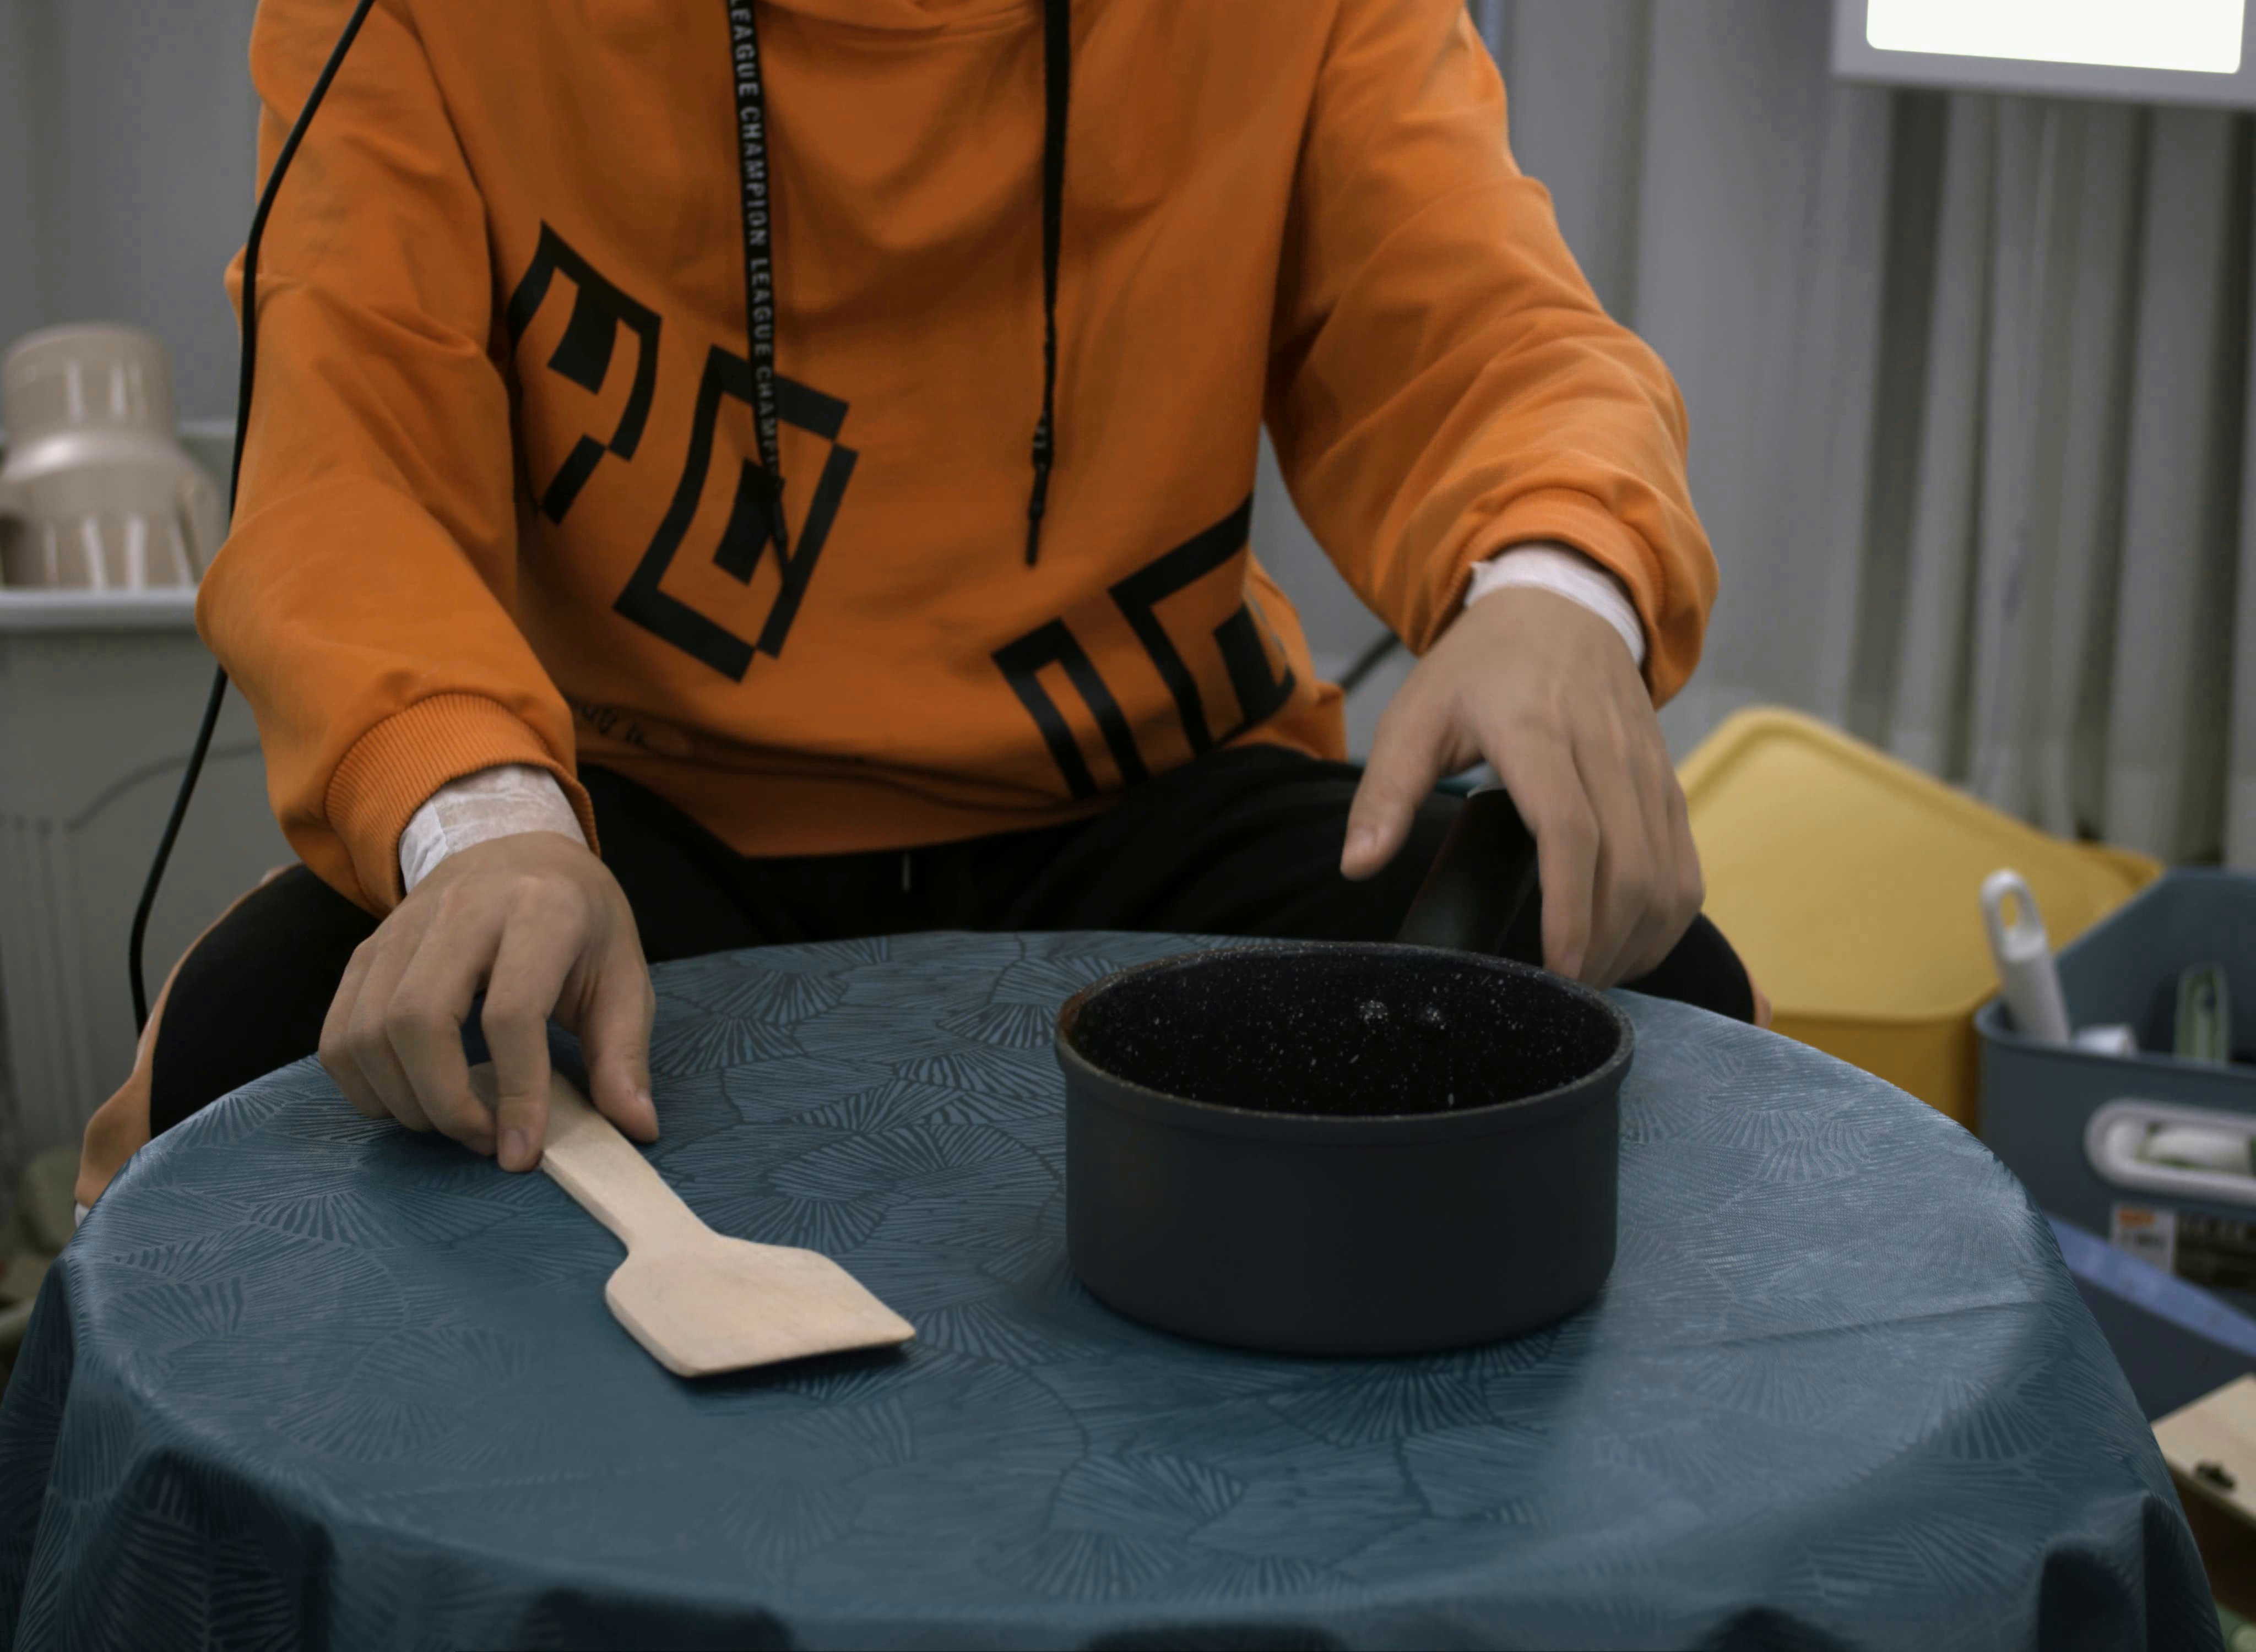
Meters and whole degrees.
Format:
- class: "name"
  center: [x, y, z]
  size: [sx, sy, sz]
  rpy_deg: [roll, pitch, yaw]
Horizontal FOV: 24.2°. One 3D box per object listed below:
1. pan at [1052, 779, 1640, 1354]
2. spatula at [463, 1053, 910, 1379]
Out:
- class: "pan"
  center: [0.088, 0.069, 1.620]
  size: [0.170, 0.087, 0.328]
  rpy_deg: [6, 18, 18]
- class: "spatula"
  center: [-0.150, 0.114, 1.595]
  size: [0.072, 0.011, 0.289]
  rpy_deg: [-10, 18, -22]
